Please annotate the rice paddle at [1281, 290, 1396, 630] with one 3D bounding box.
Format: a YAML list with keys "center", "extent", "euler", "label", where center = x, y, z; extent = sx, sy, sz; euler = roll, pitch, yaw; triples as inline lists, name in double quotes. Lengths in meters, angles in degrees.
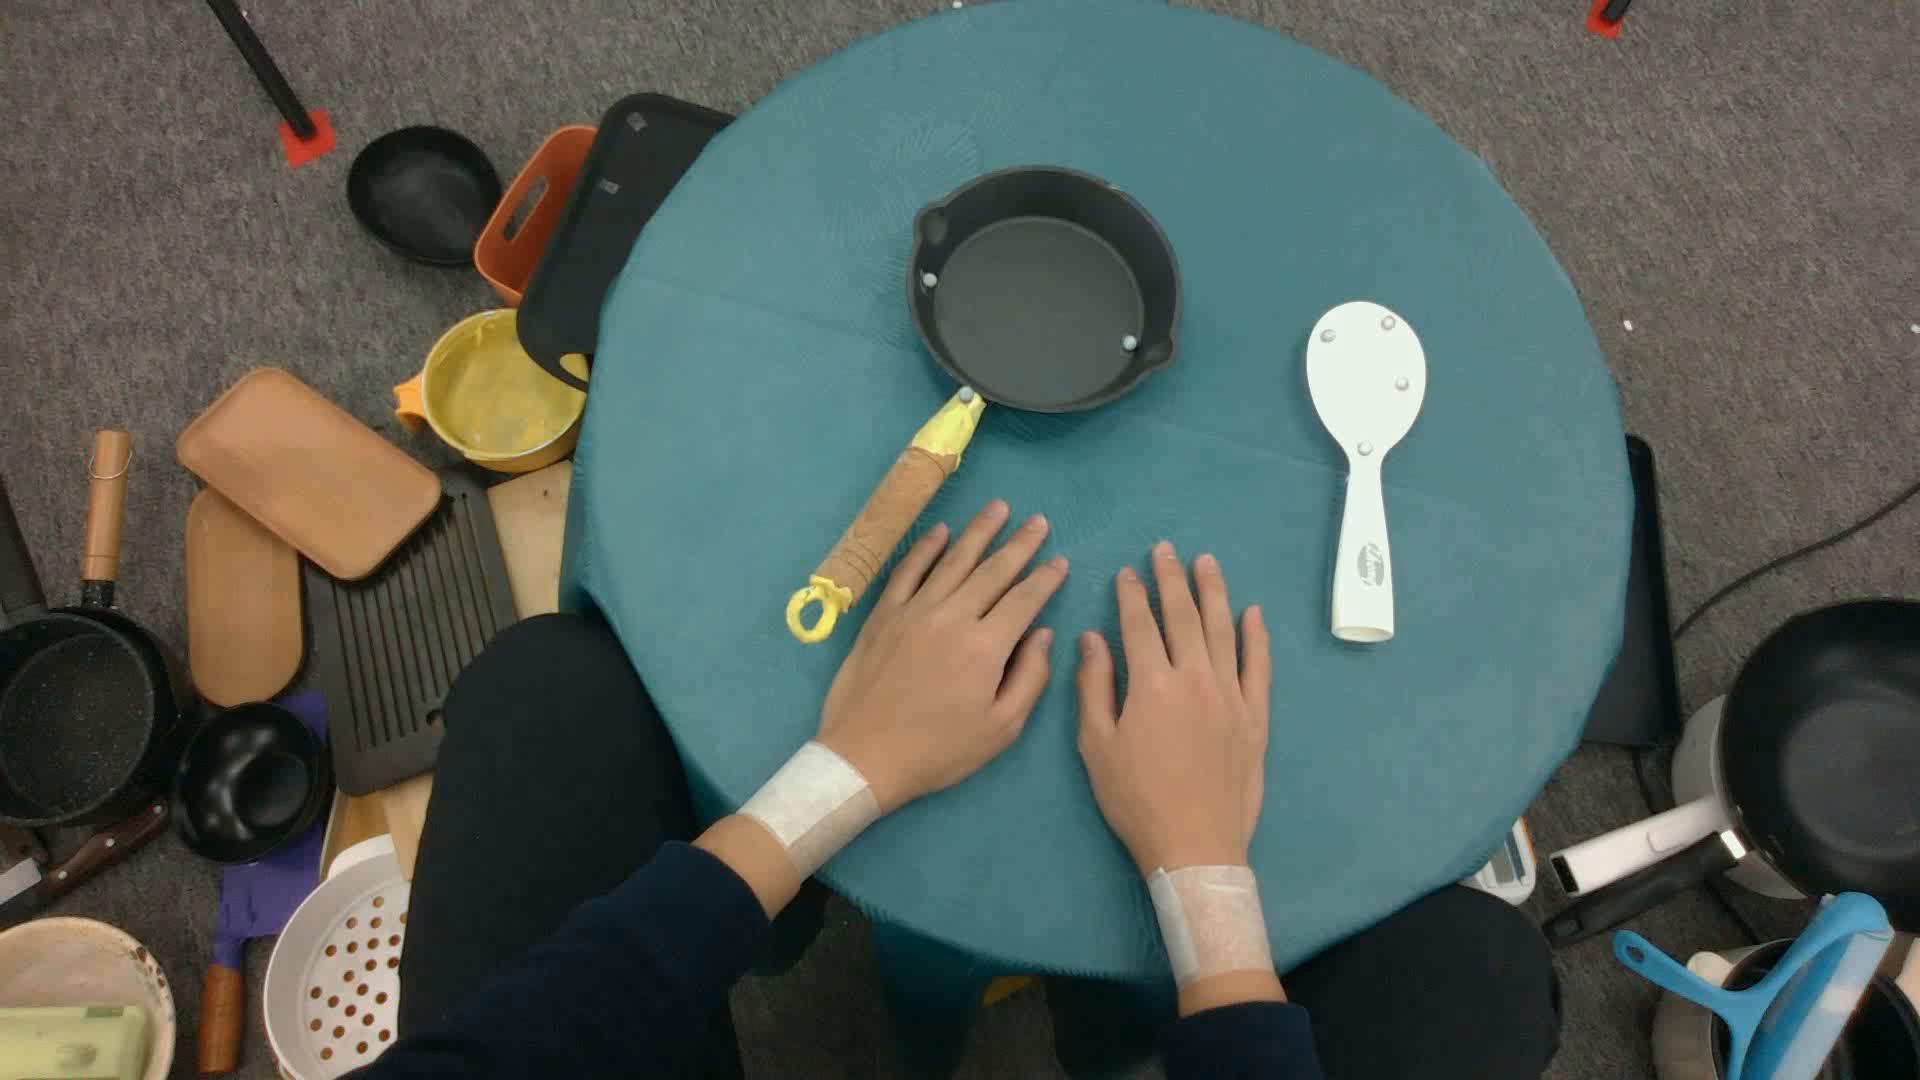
- center: [0.215, -0.052, 0.776]
  extent: [0.069, 0.029, 0.206]
  euler: [6, 71, -5]
  label: "rice paddle"

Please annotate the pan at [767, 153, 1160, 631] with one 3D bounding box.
- center: [-0.010, -0.082, 0.756]
  extent: [0.169, 0.049, 0.325]
  euler: [32, 70, 6]
  label: "pan"
